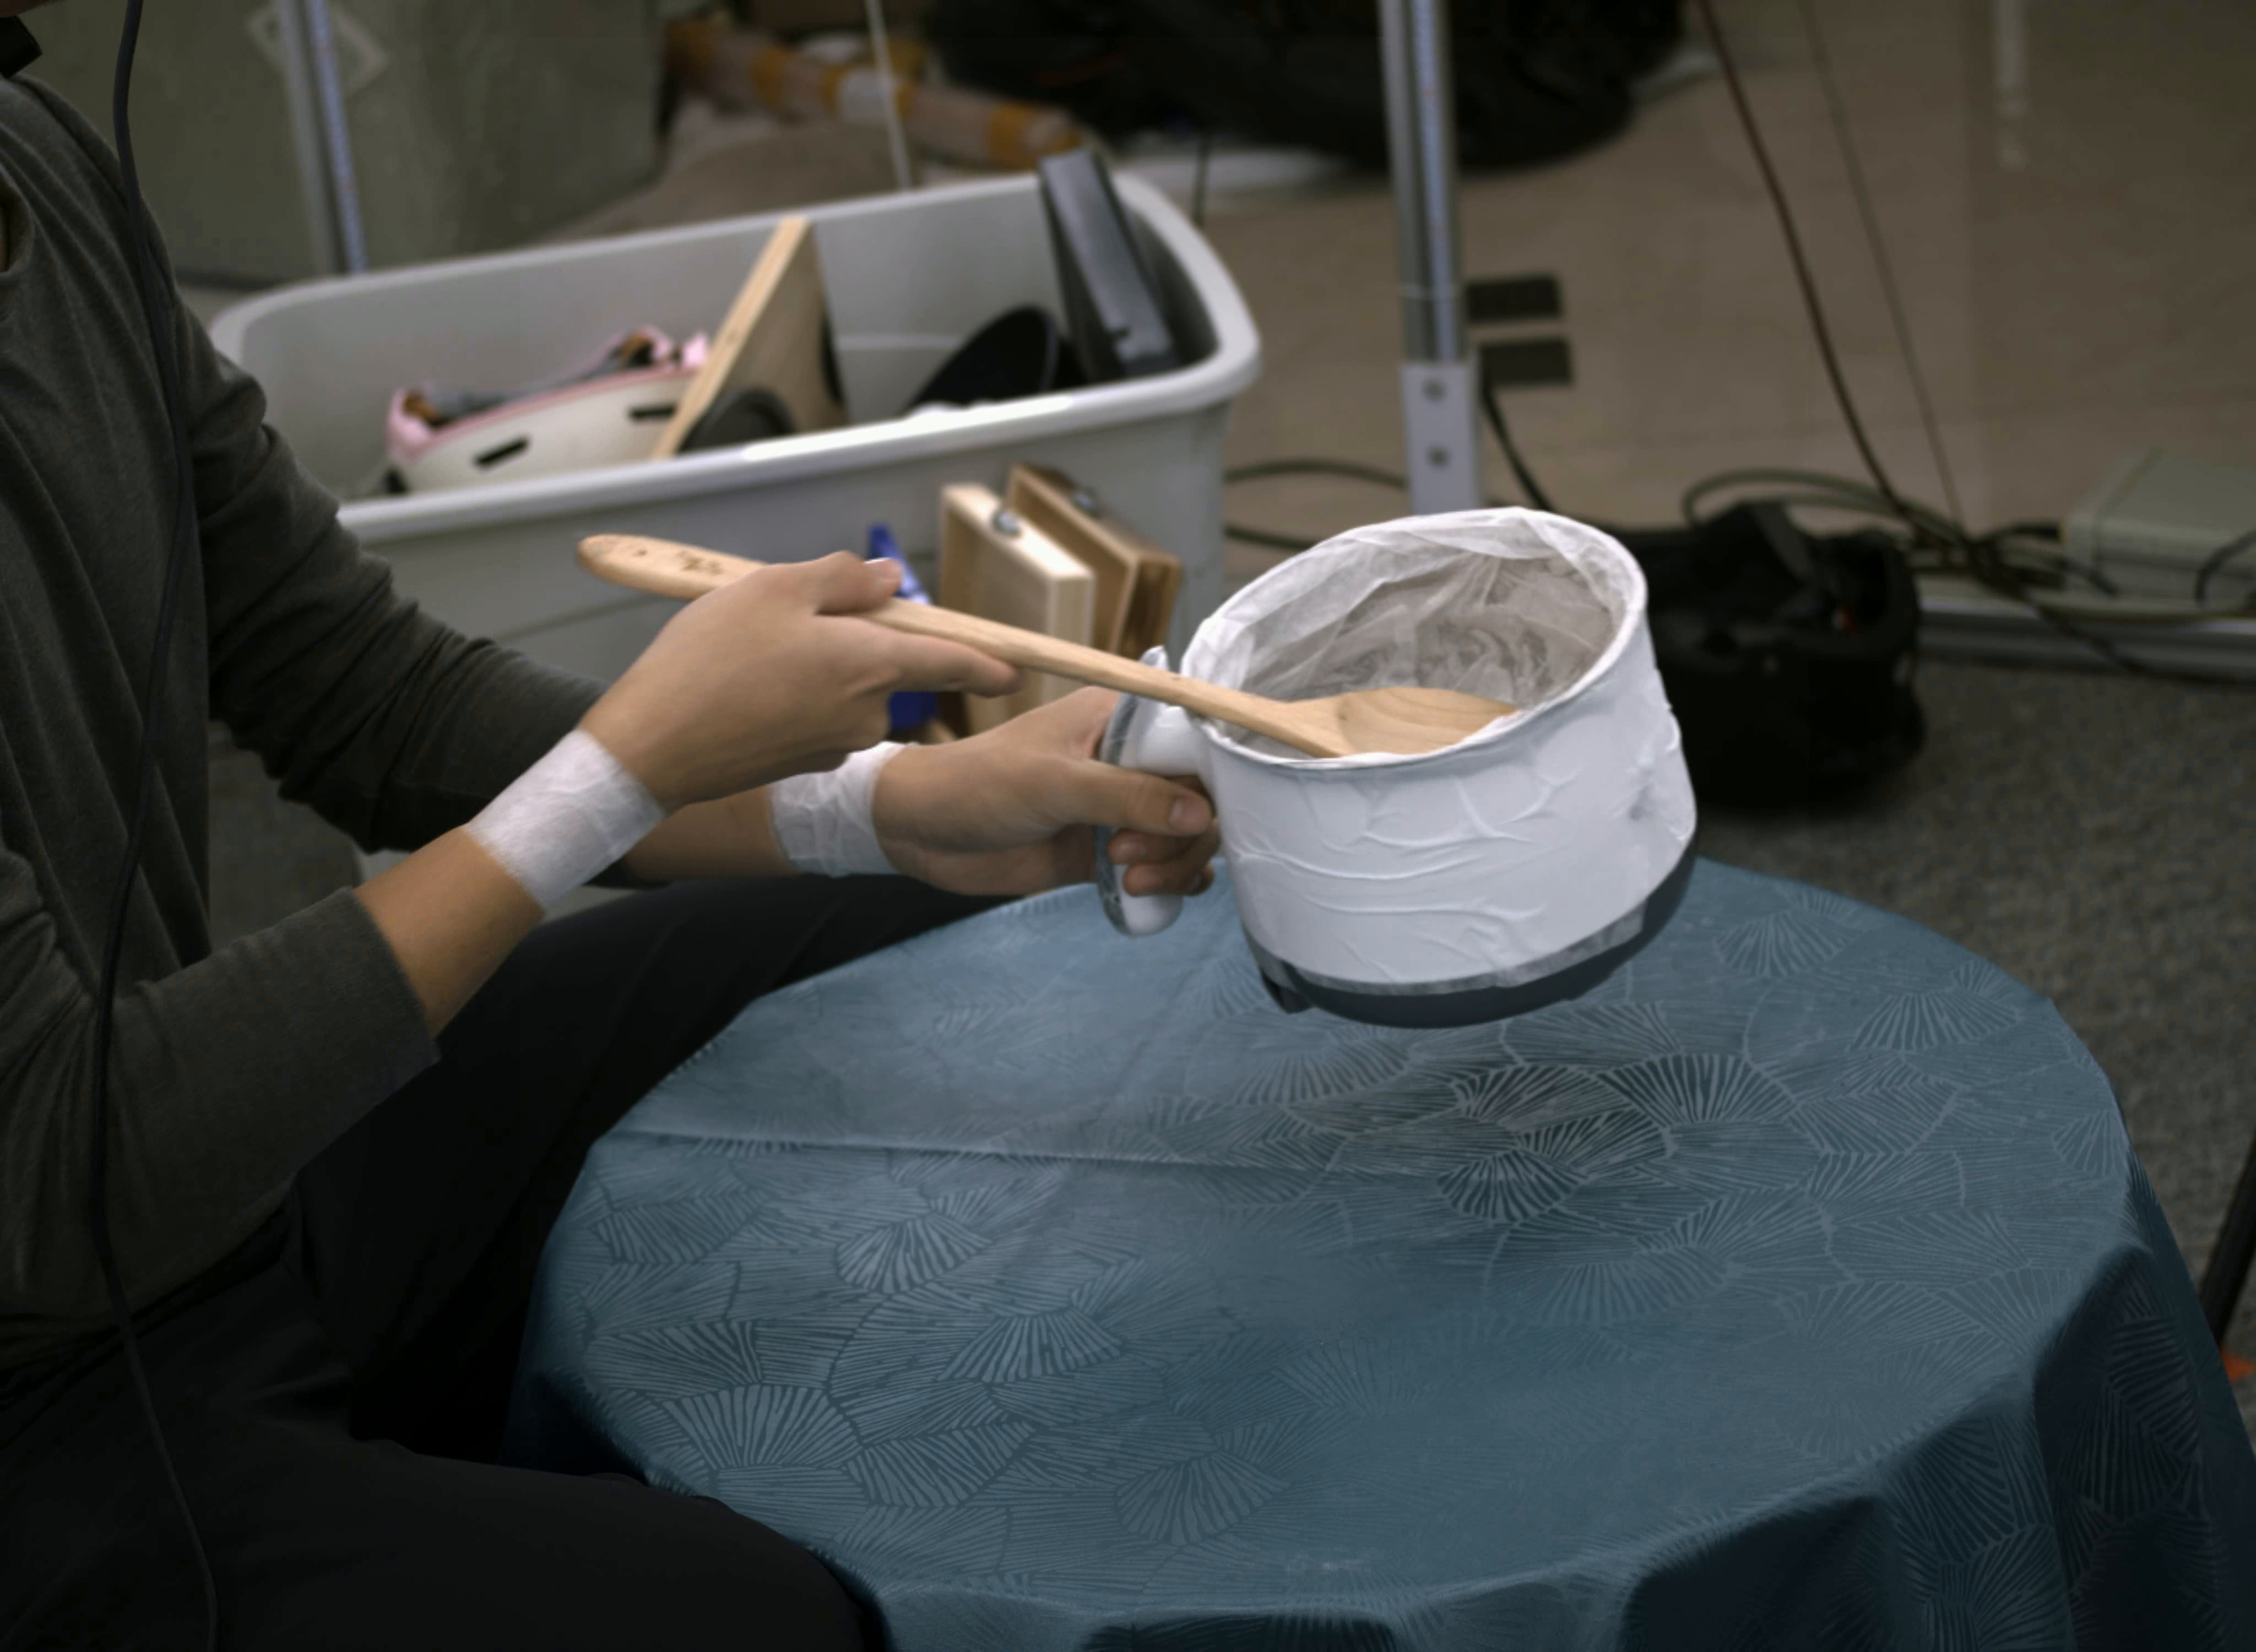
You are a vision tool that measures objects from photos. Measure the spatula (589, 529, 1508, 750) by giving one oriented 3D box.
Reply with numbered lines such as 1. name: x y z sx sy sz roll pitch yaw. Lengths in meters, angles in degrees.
1. spatula: -0.009 -0.056 2.056 0.391 0.019 0.094 14 25 -20

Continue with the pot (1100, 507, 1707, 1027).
1. pot: 0.096 -0.017 2.125 0.233 0.139 0.176 -6 32 16
